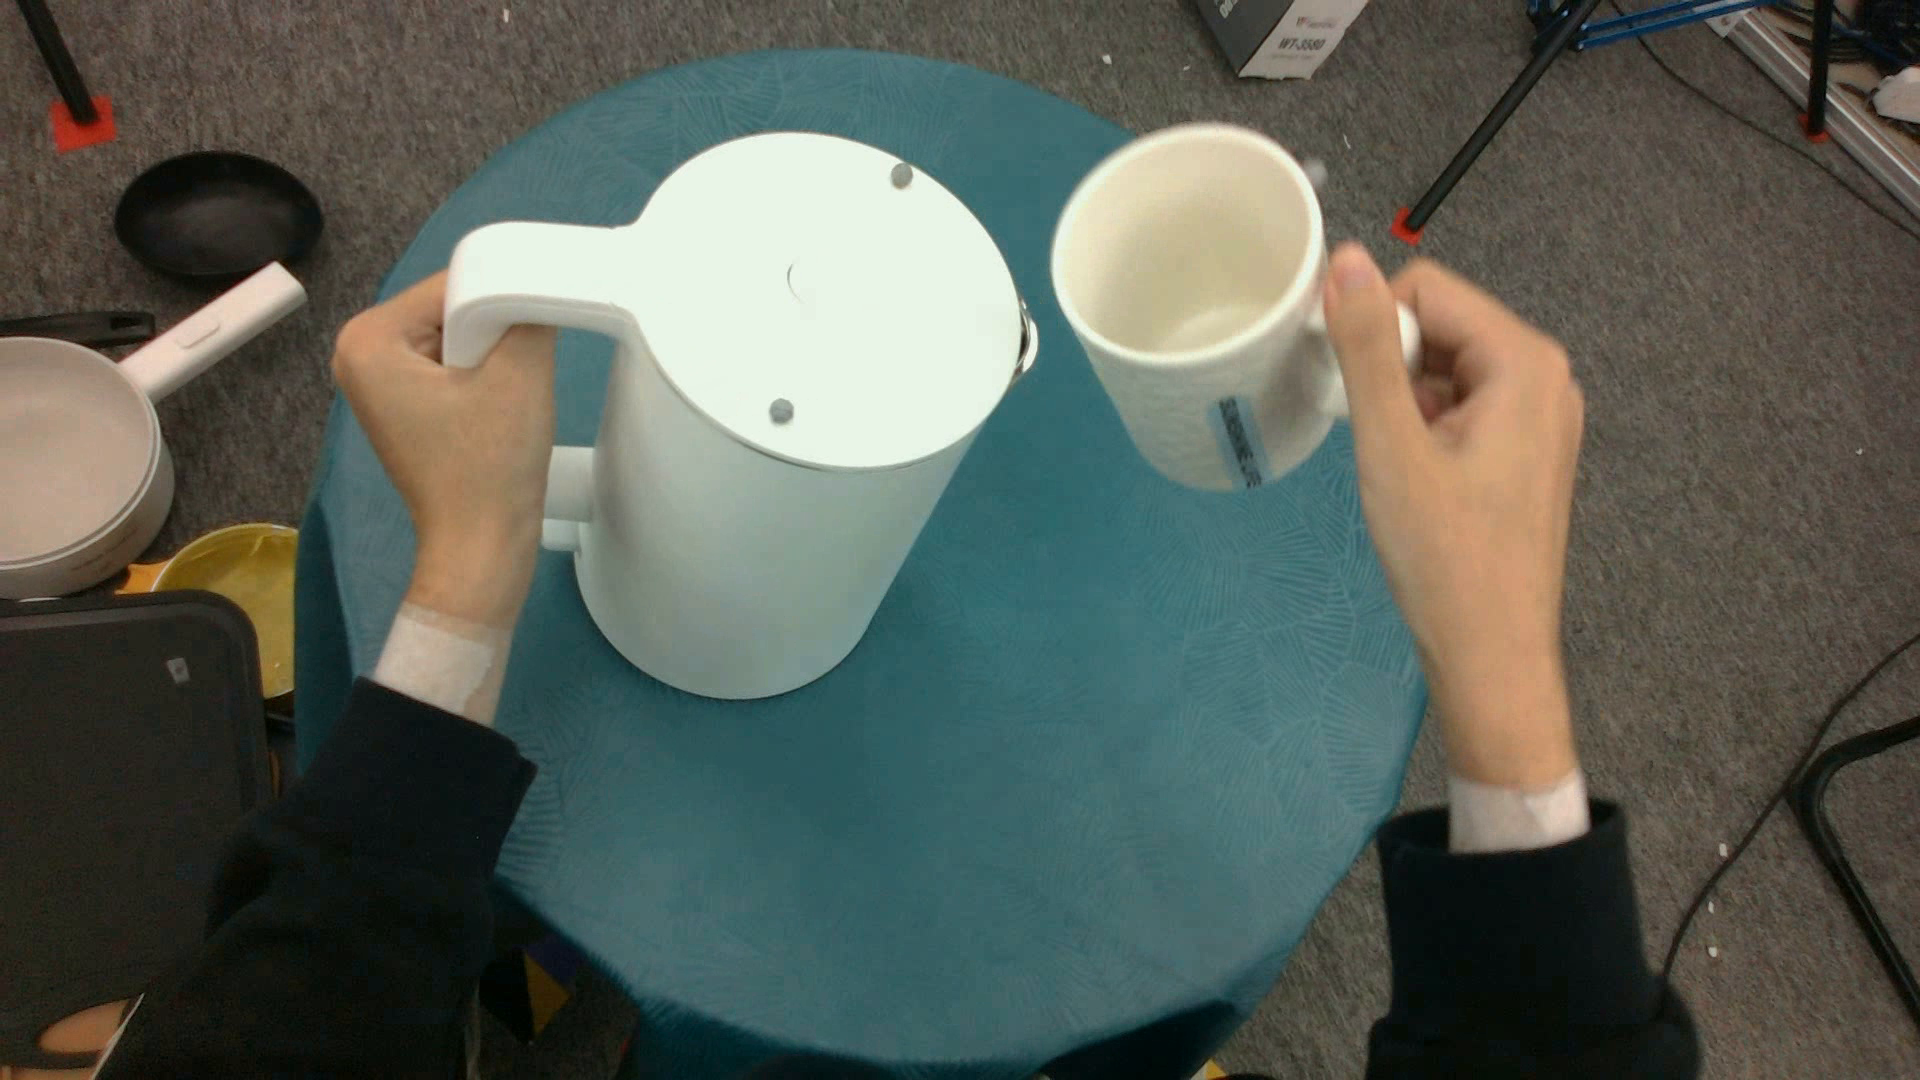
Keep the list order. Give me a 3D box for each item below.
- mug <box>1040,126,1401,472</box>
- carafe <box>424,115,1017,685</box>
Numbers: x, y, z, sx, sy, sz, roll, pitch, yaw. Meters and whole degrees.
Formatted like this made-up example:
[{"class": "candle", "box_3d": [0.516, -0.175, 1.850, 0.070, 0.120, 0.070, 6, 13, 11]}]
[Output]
[{"class": "mug", "box_3d": [0.096, -0.076, 0.483, 0.118, 0.102, 0.085, 20, 75, 25]}, {"class": "carafe", "box_3d": [-0.112, -0.051, 0.582, 0.213, 0.239, 0.152, 4, 62, -19]}]
